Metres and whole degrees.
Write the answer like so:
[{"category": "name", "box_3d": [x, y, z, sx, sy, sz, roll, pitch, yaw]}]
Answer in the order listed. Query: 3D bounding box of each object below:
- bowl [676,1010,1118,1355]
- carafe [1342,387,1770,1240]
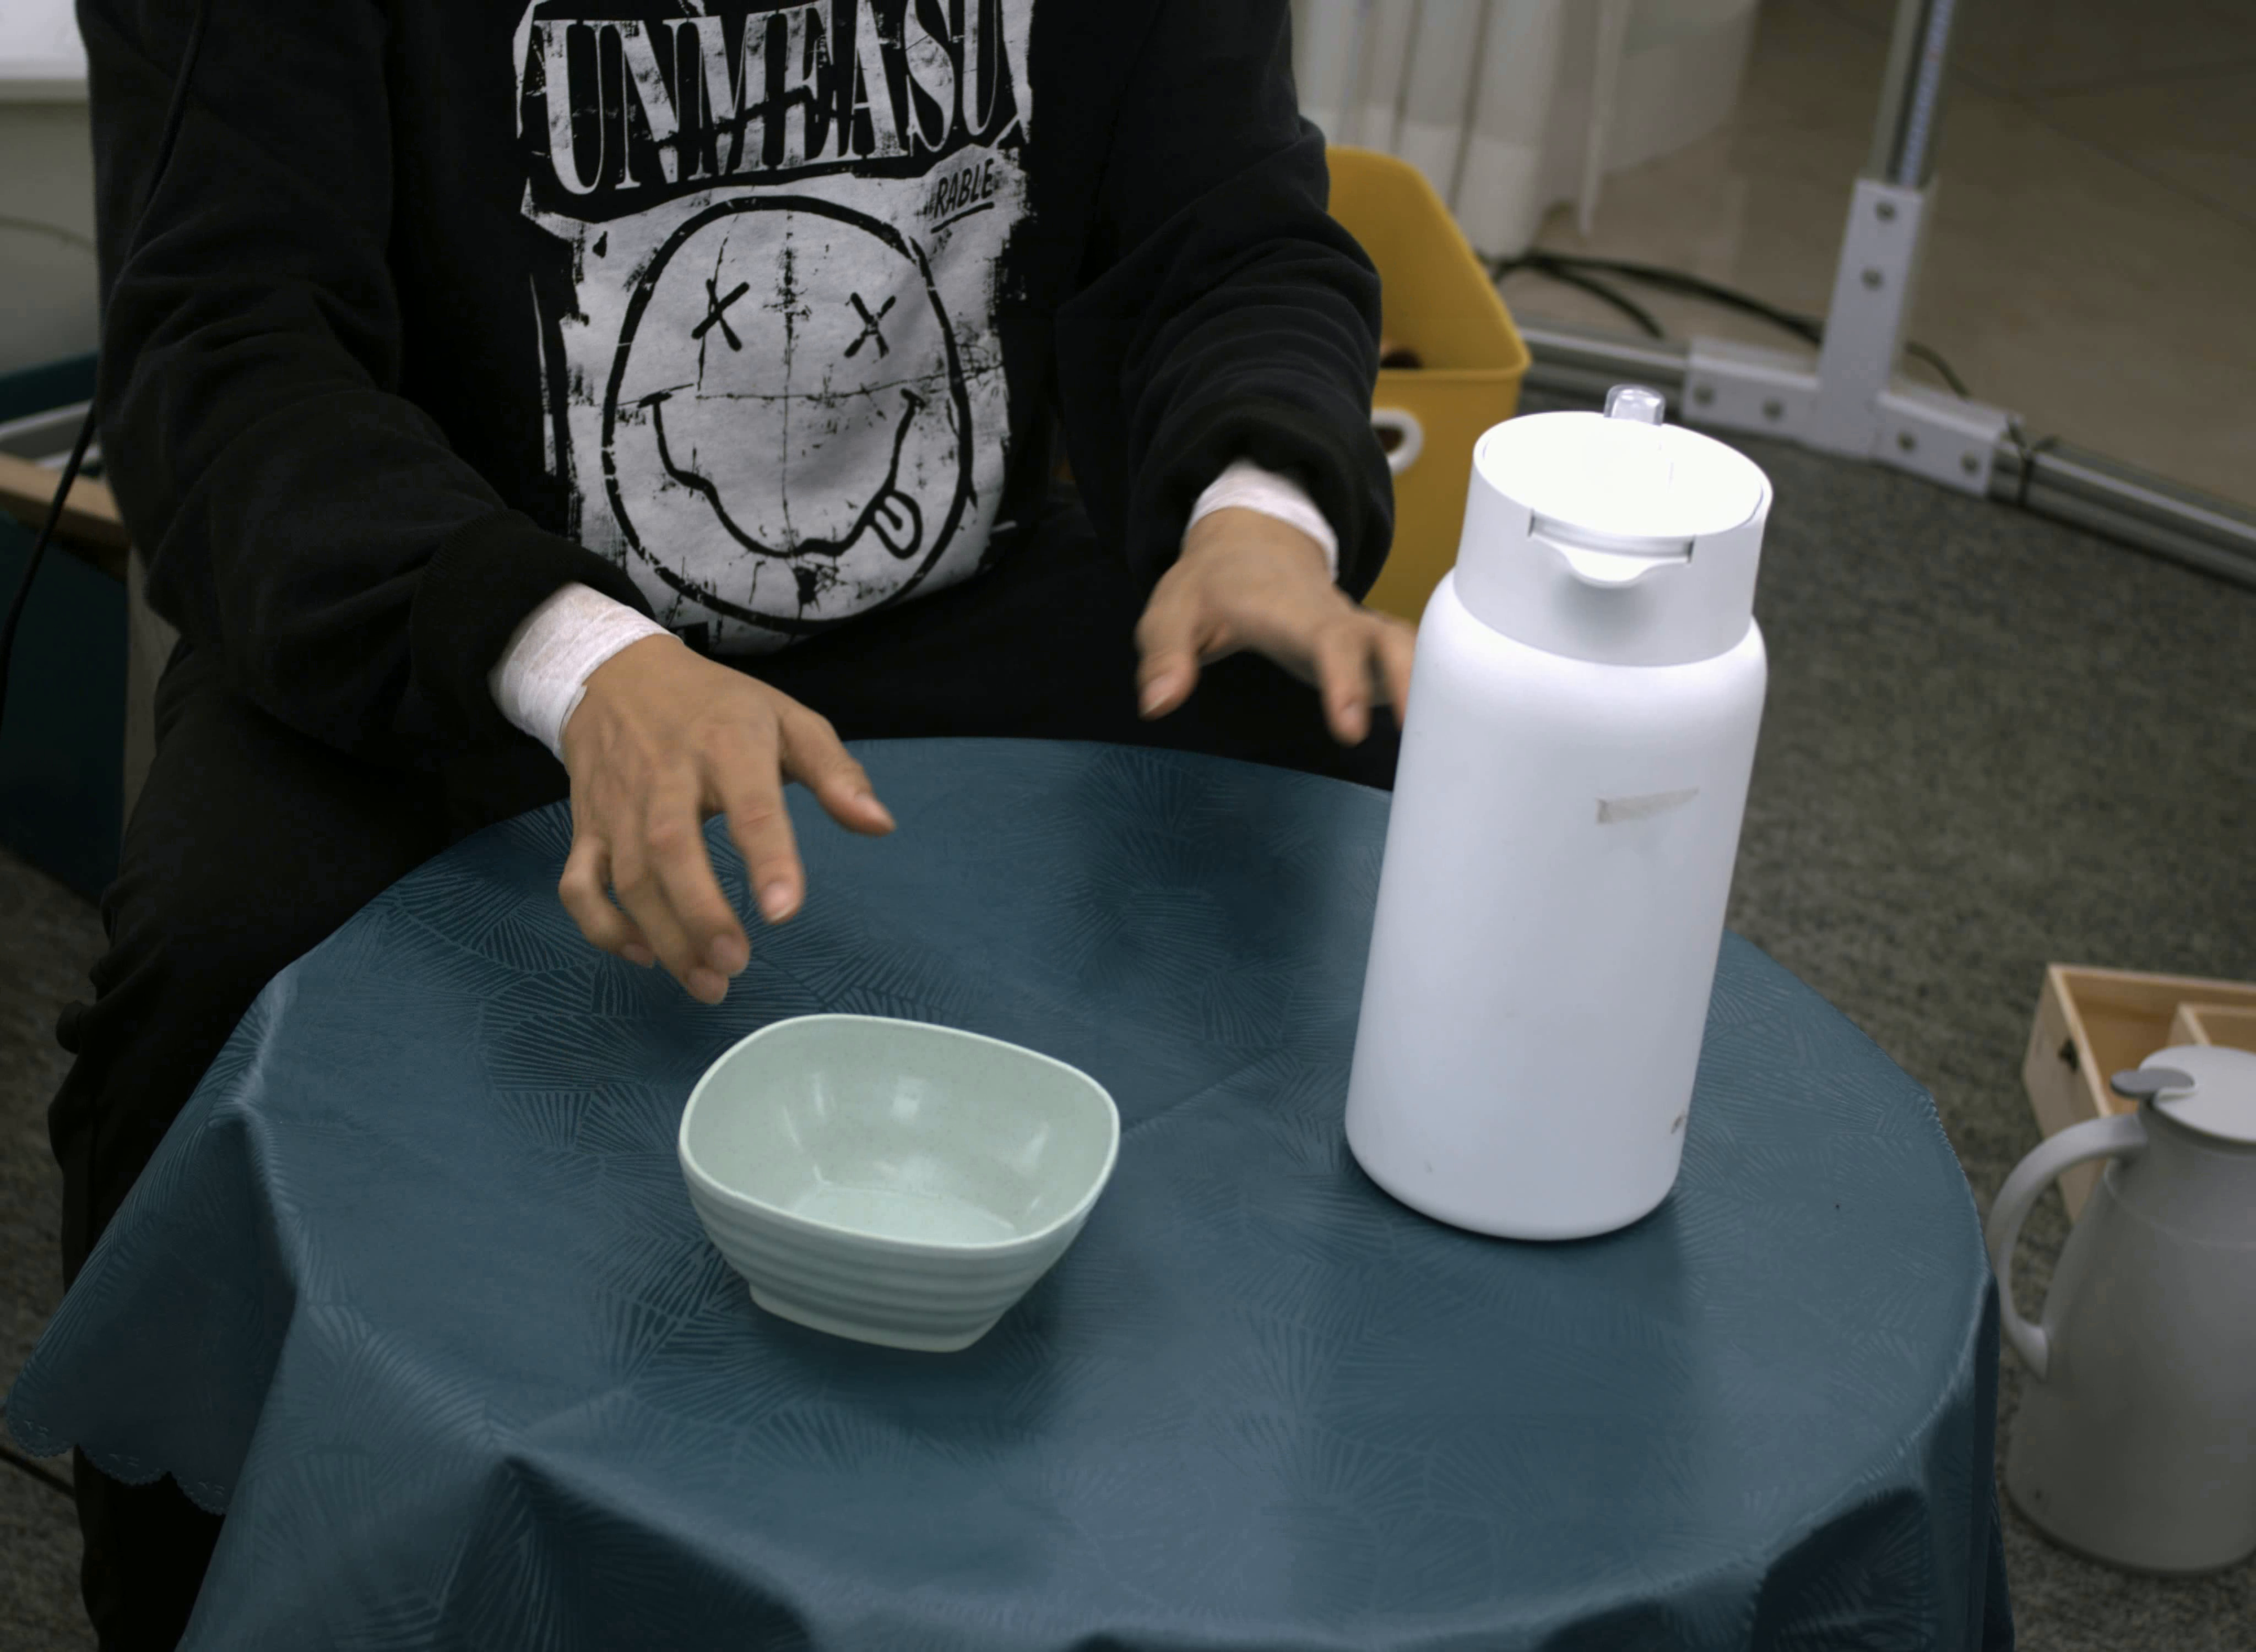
[{"category": "bowl", "box_3d": [-0.077, 0.122, 1.731, 0.151, 0.058, 0.152, 5, 28, -3]}, {"category": "carafe", "box_3d": [0.146, -0.008, 1.804, 0.123, 0.268, 0.173, 7, 26, 5]}]
